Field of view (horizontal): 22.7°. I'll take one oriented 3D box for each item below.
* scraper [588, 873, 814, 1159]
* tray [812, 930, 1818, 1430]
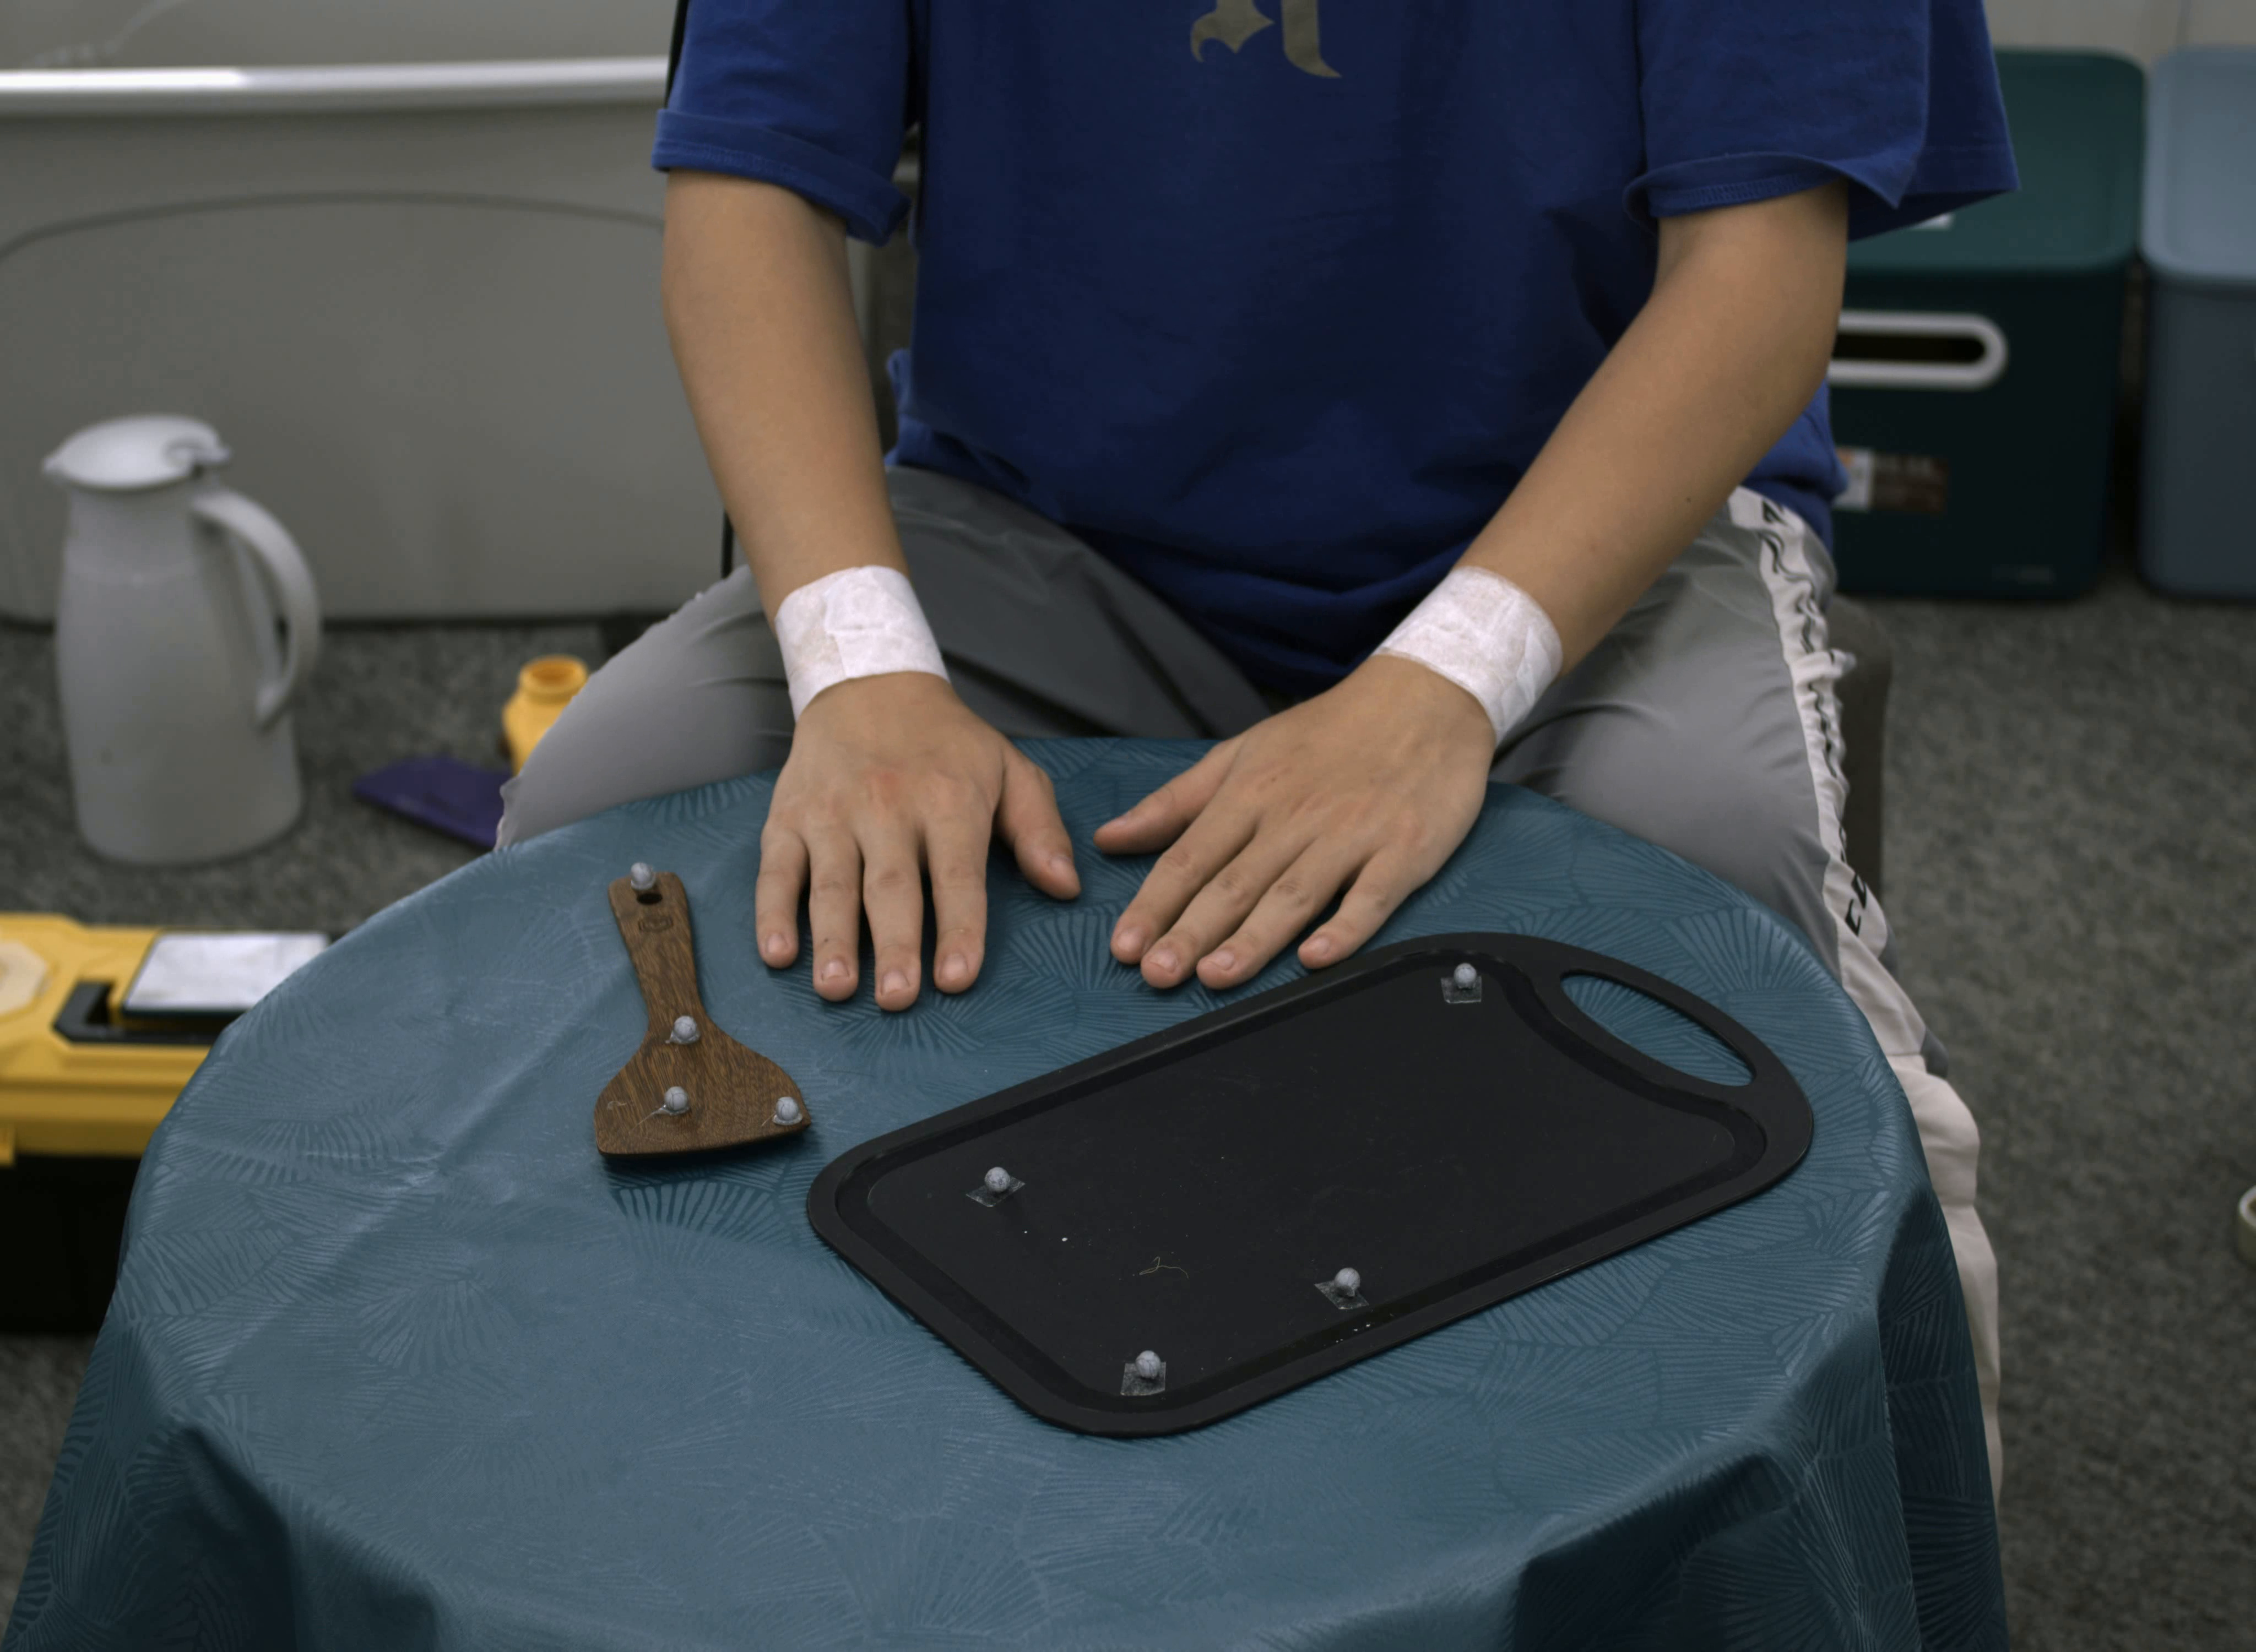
[{"bbox_3d":[-0.159,0.066,1.975,0.076,0.011,0.214,-6,27,-8],"label":"scraper"},{"bbox_3d":[0.069,0.108,1.872,0.328,0.009,0.212,-19,31,-28],"label":"tray"}]
